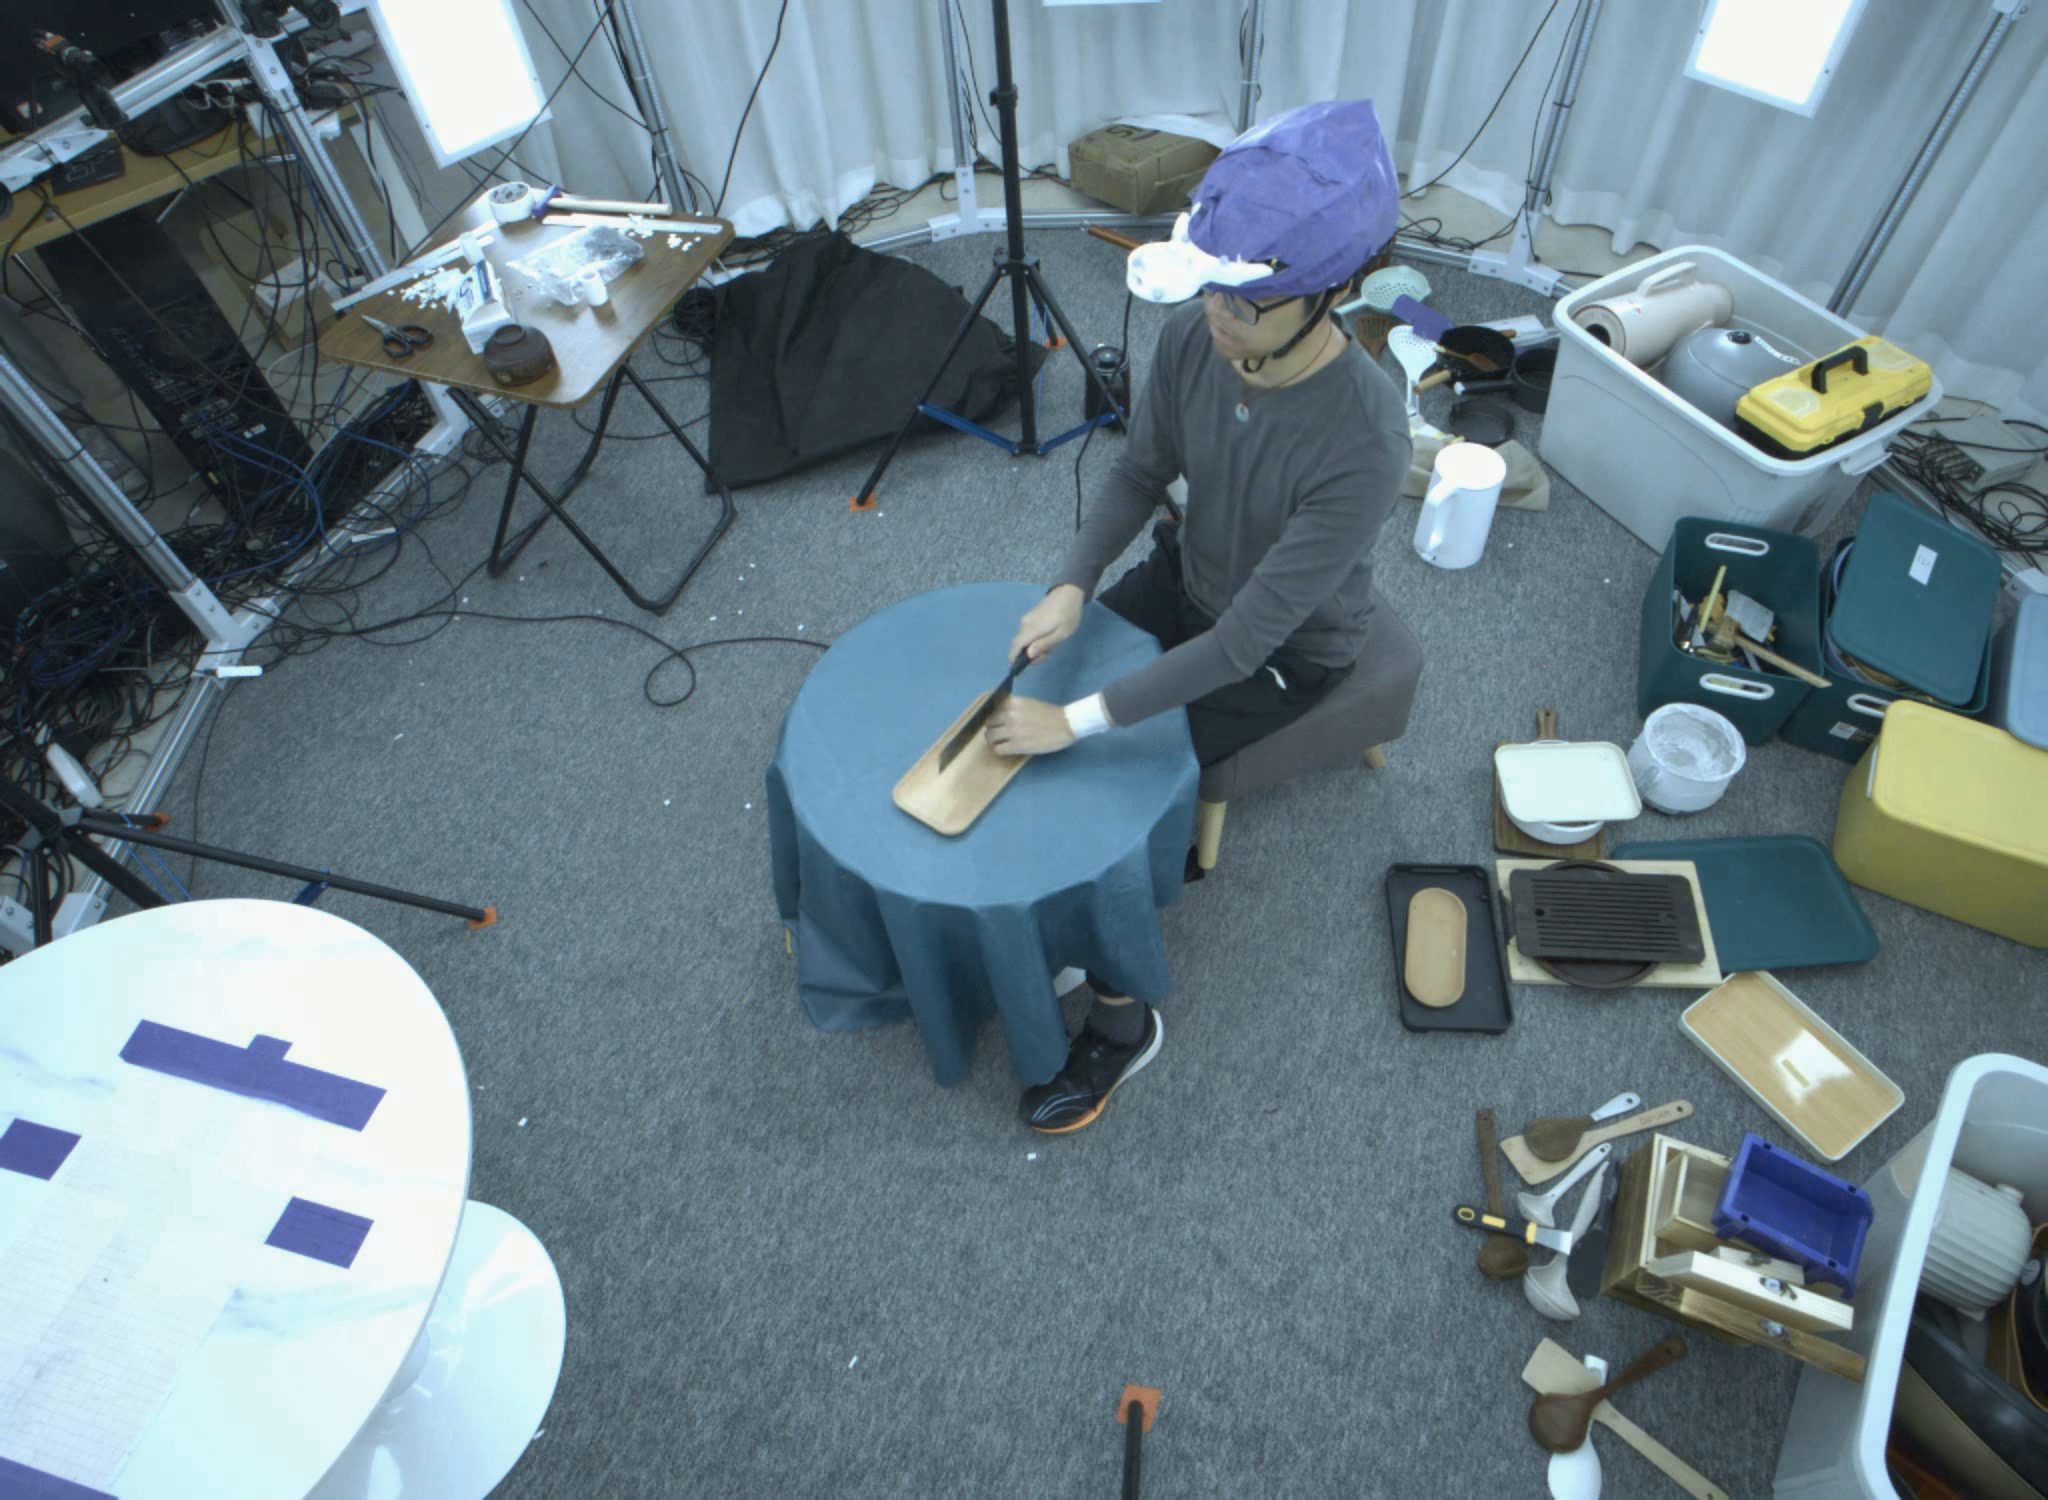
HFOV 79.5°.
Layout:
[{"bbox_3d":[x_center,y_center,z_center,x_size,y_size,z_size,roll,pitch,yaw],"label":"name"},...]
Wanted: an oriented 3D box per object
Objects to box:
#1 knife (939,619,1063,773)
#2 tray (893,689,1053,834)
[{"bbox_3d":[-0.033,-0.083,1.773,0.020,0.081,0.303,33,64,12],"label":"knife"},{"bbox_3d":[-0.071,0.014,1.777,0.128,0.023,0.252,32,60,19],"label":"tray"}]
